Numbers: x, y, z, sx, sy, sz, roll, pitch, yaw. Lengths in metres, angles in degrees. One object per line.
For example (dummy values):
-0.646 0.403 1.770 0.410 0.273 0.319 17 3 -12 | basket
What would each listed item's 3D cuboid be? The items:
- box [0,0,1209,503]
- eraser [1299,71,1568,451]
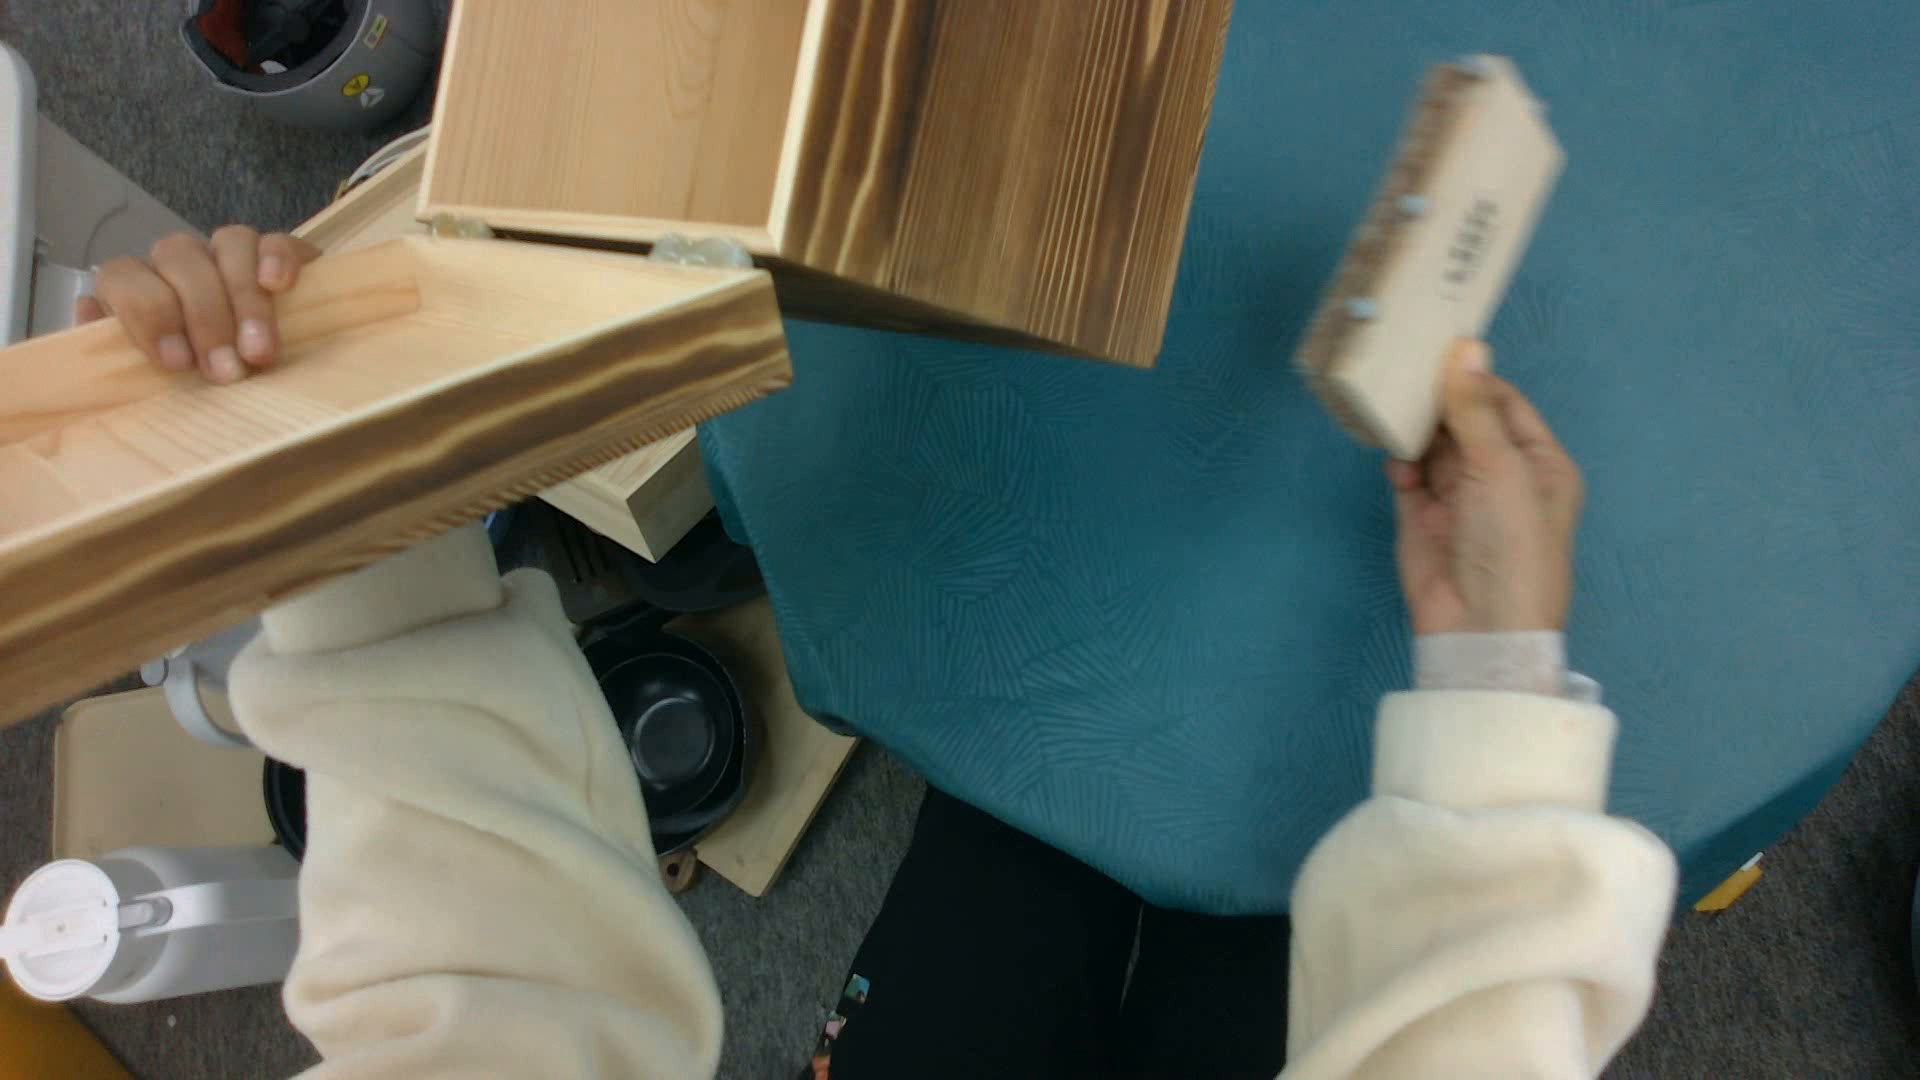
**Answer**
-0.118 -0.144 0.395 0.208 0.376 0.322 14 94 41 | box
0.180 -0.107 0.522 0.029 0.057 0.139 23 76 47 | eraser
